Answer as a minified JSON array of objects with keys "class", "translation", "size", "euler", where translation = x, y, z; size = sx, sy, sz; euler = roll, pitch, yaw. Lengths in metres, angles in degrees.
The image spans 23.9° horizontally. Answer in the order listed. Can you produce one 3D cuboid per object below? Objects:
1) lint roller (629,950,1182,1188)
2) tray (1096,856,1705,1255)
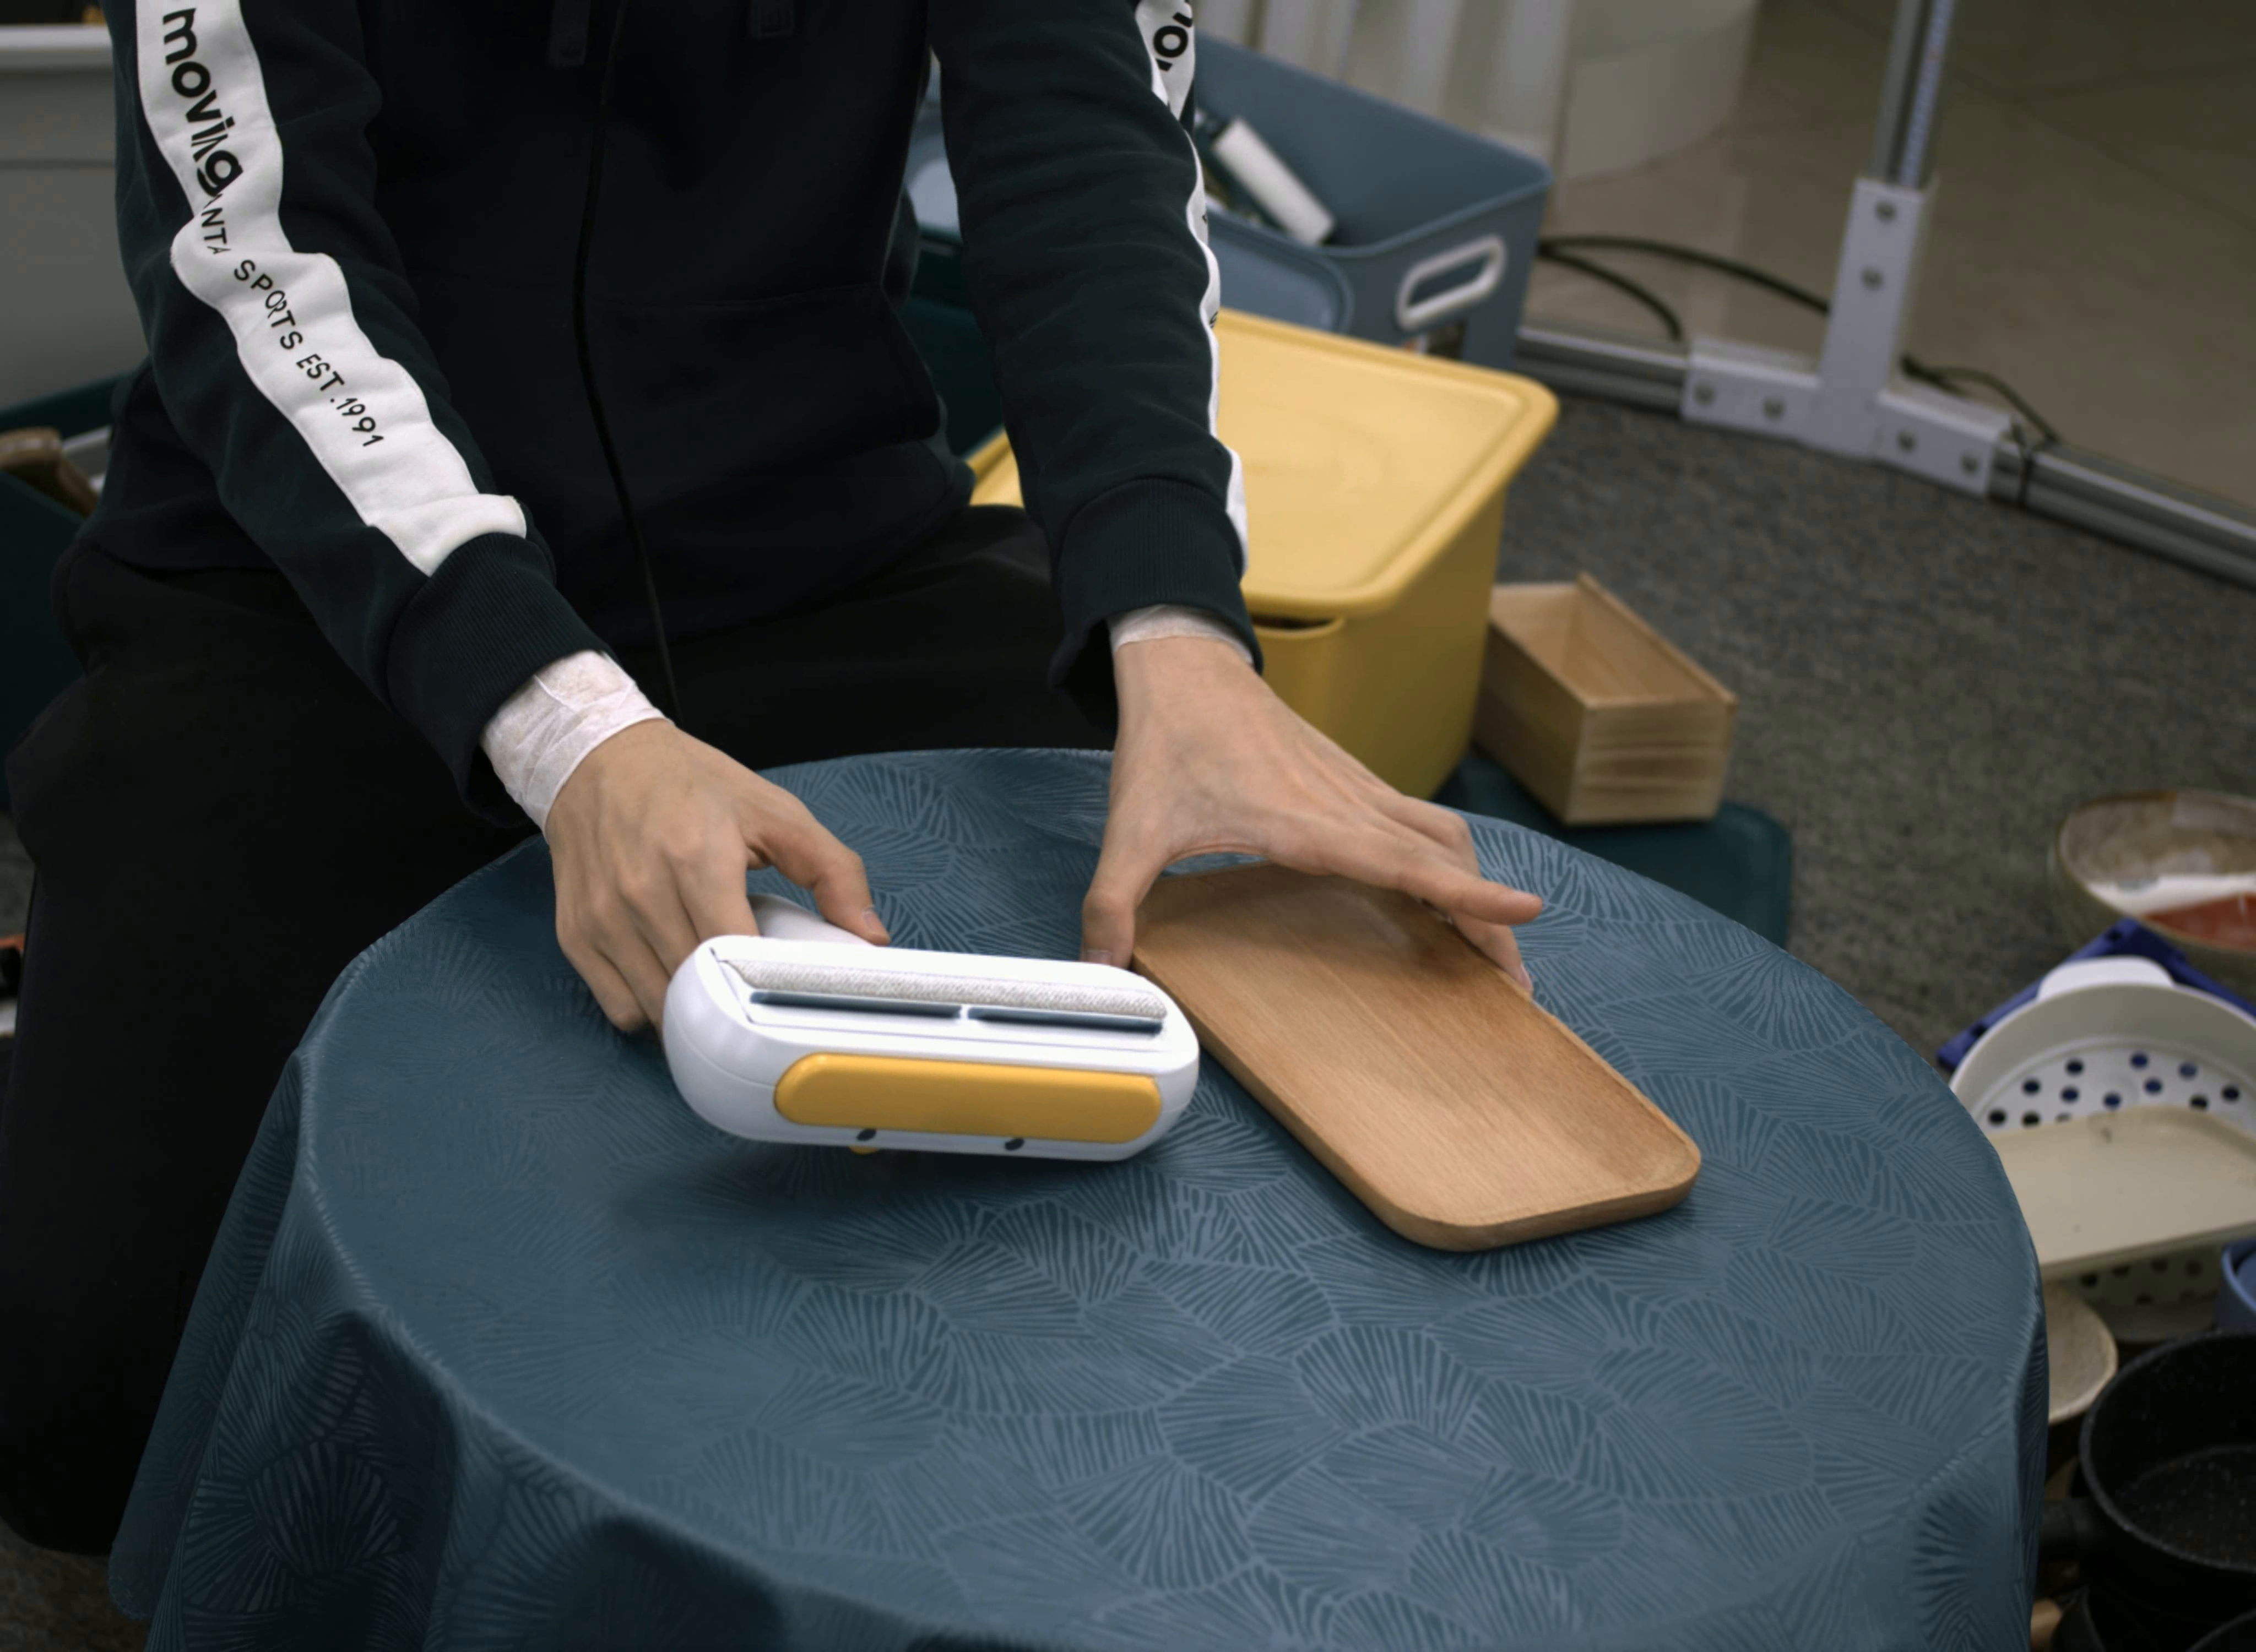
[{"class":"lint roller","translation":[-0.097,0.075,1.838],"size":[0.191,0.074,0.194],"euler":[5,11,-24]},{"class":"tray","translation":[0.093,0.078,1.891],"size":[0.129,0.023,0.253],"euler":[-7,29,-28]}]
